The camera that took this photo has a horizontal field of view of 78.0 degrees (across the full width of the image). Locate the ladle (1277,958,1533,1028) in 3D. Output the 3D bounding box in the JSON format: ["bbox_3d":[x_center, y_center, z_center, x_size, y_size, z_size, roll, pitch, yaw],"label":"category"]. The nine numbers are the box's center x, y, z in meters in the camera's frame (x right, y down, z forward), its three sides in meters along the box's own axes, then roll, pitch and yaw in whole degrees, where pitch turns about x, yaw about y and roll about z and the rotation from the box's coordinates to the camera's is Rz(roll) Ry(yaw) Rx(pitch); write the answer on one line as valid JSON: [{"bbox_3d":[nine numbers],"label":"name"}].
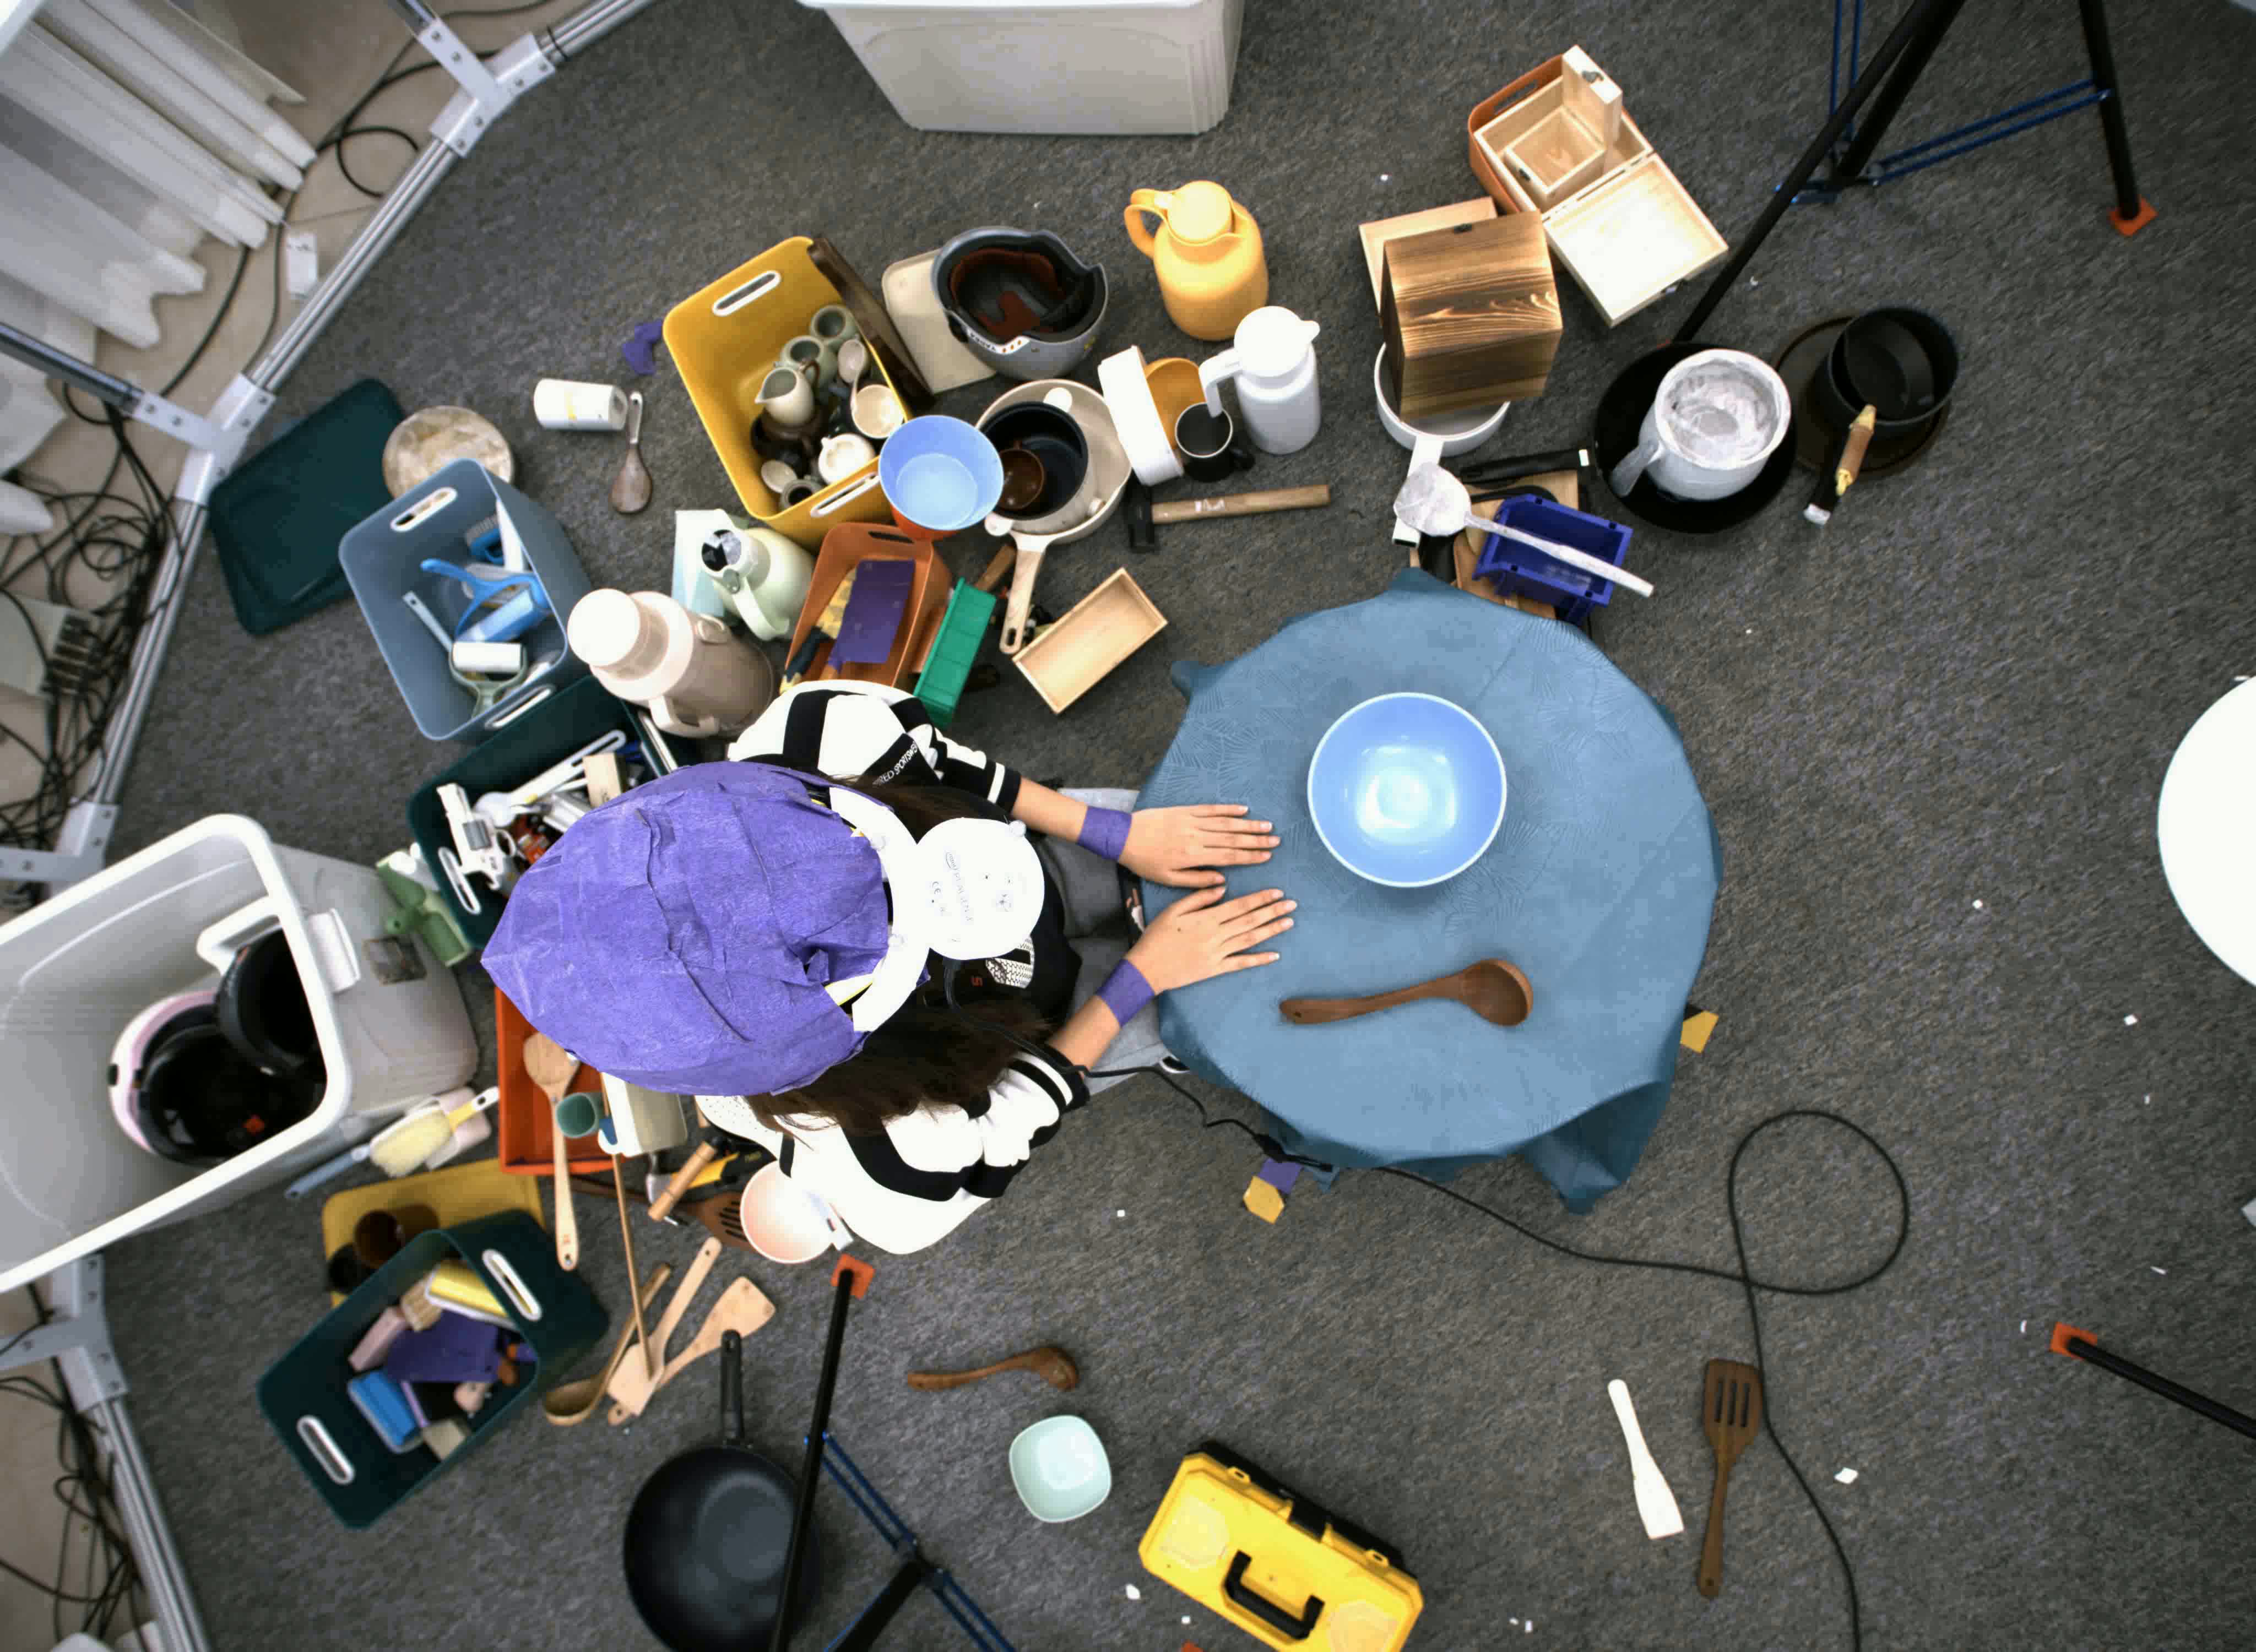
[{"bbox_3d":[0.283,0.183,1.422,0.261,0.064,0.078,-10,112,10],"label":"ladle"}]

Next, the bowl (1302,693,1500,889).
[{"bbox_3d":[0.276,-0.035,1.418,0.197,0.095,0.196,0,91,6],"label":"bowl"}]
